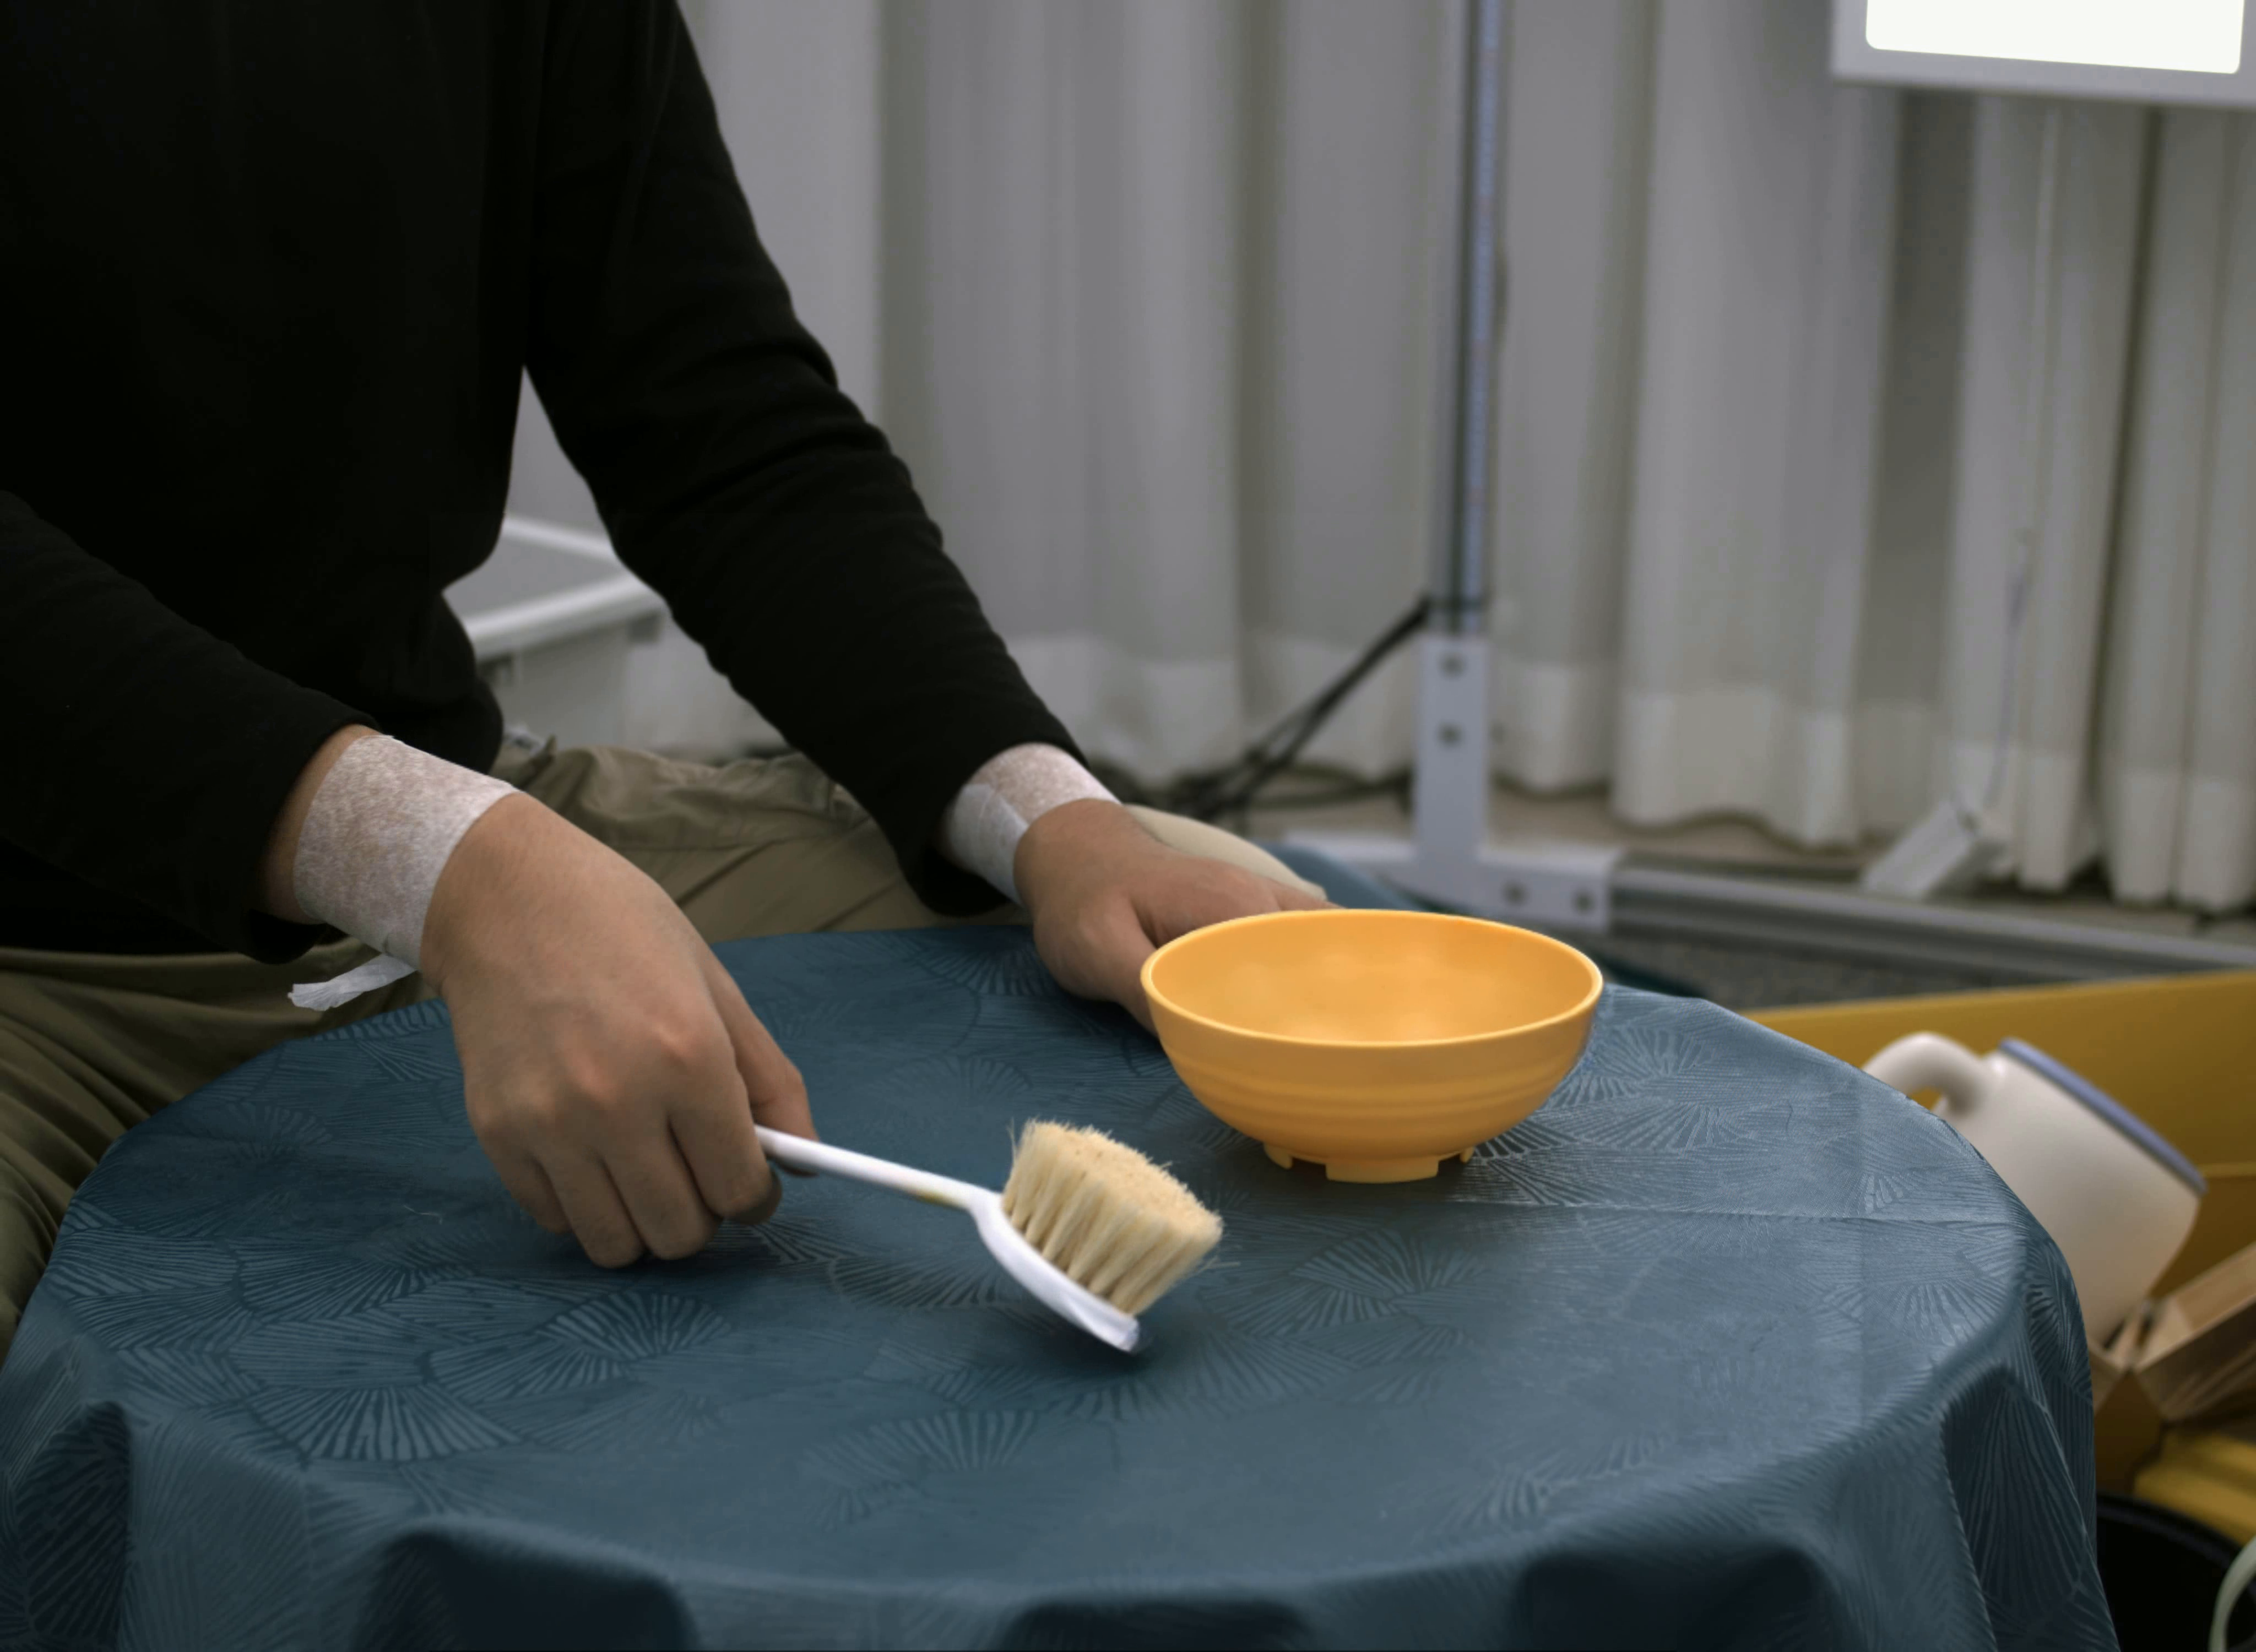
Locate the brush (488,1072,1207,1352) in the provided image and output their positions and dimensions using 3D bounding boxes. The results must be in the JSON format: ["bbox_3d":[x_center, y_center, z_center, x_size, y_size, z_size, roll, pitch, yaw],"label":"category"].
[{"bbox_3d":[-0.087,0.089,1.545,0.263,0.056,0.069,17,-11,38],"label":"brush"}]

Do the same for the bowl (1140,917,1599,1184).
[{"bbox_3d":[0.075,0.074,1.651,0.145,0.060,0.144,1,14,0],"label":"bowl"}]
